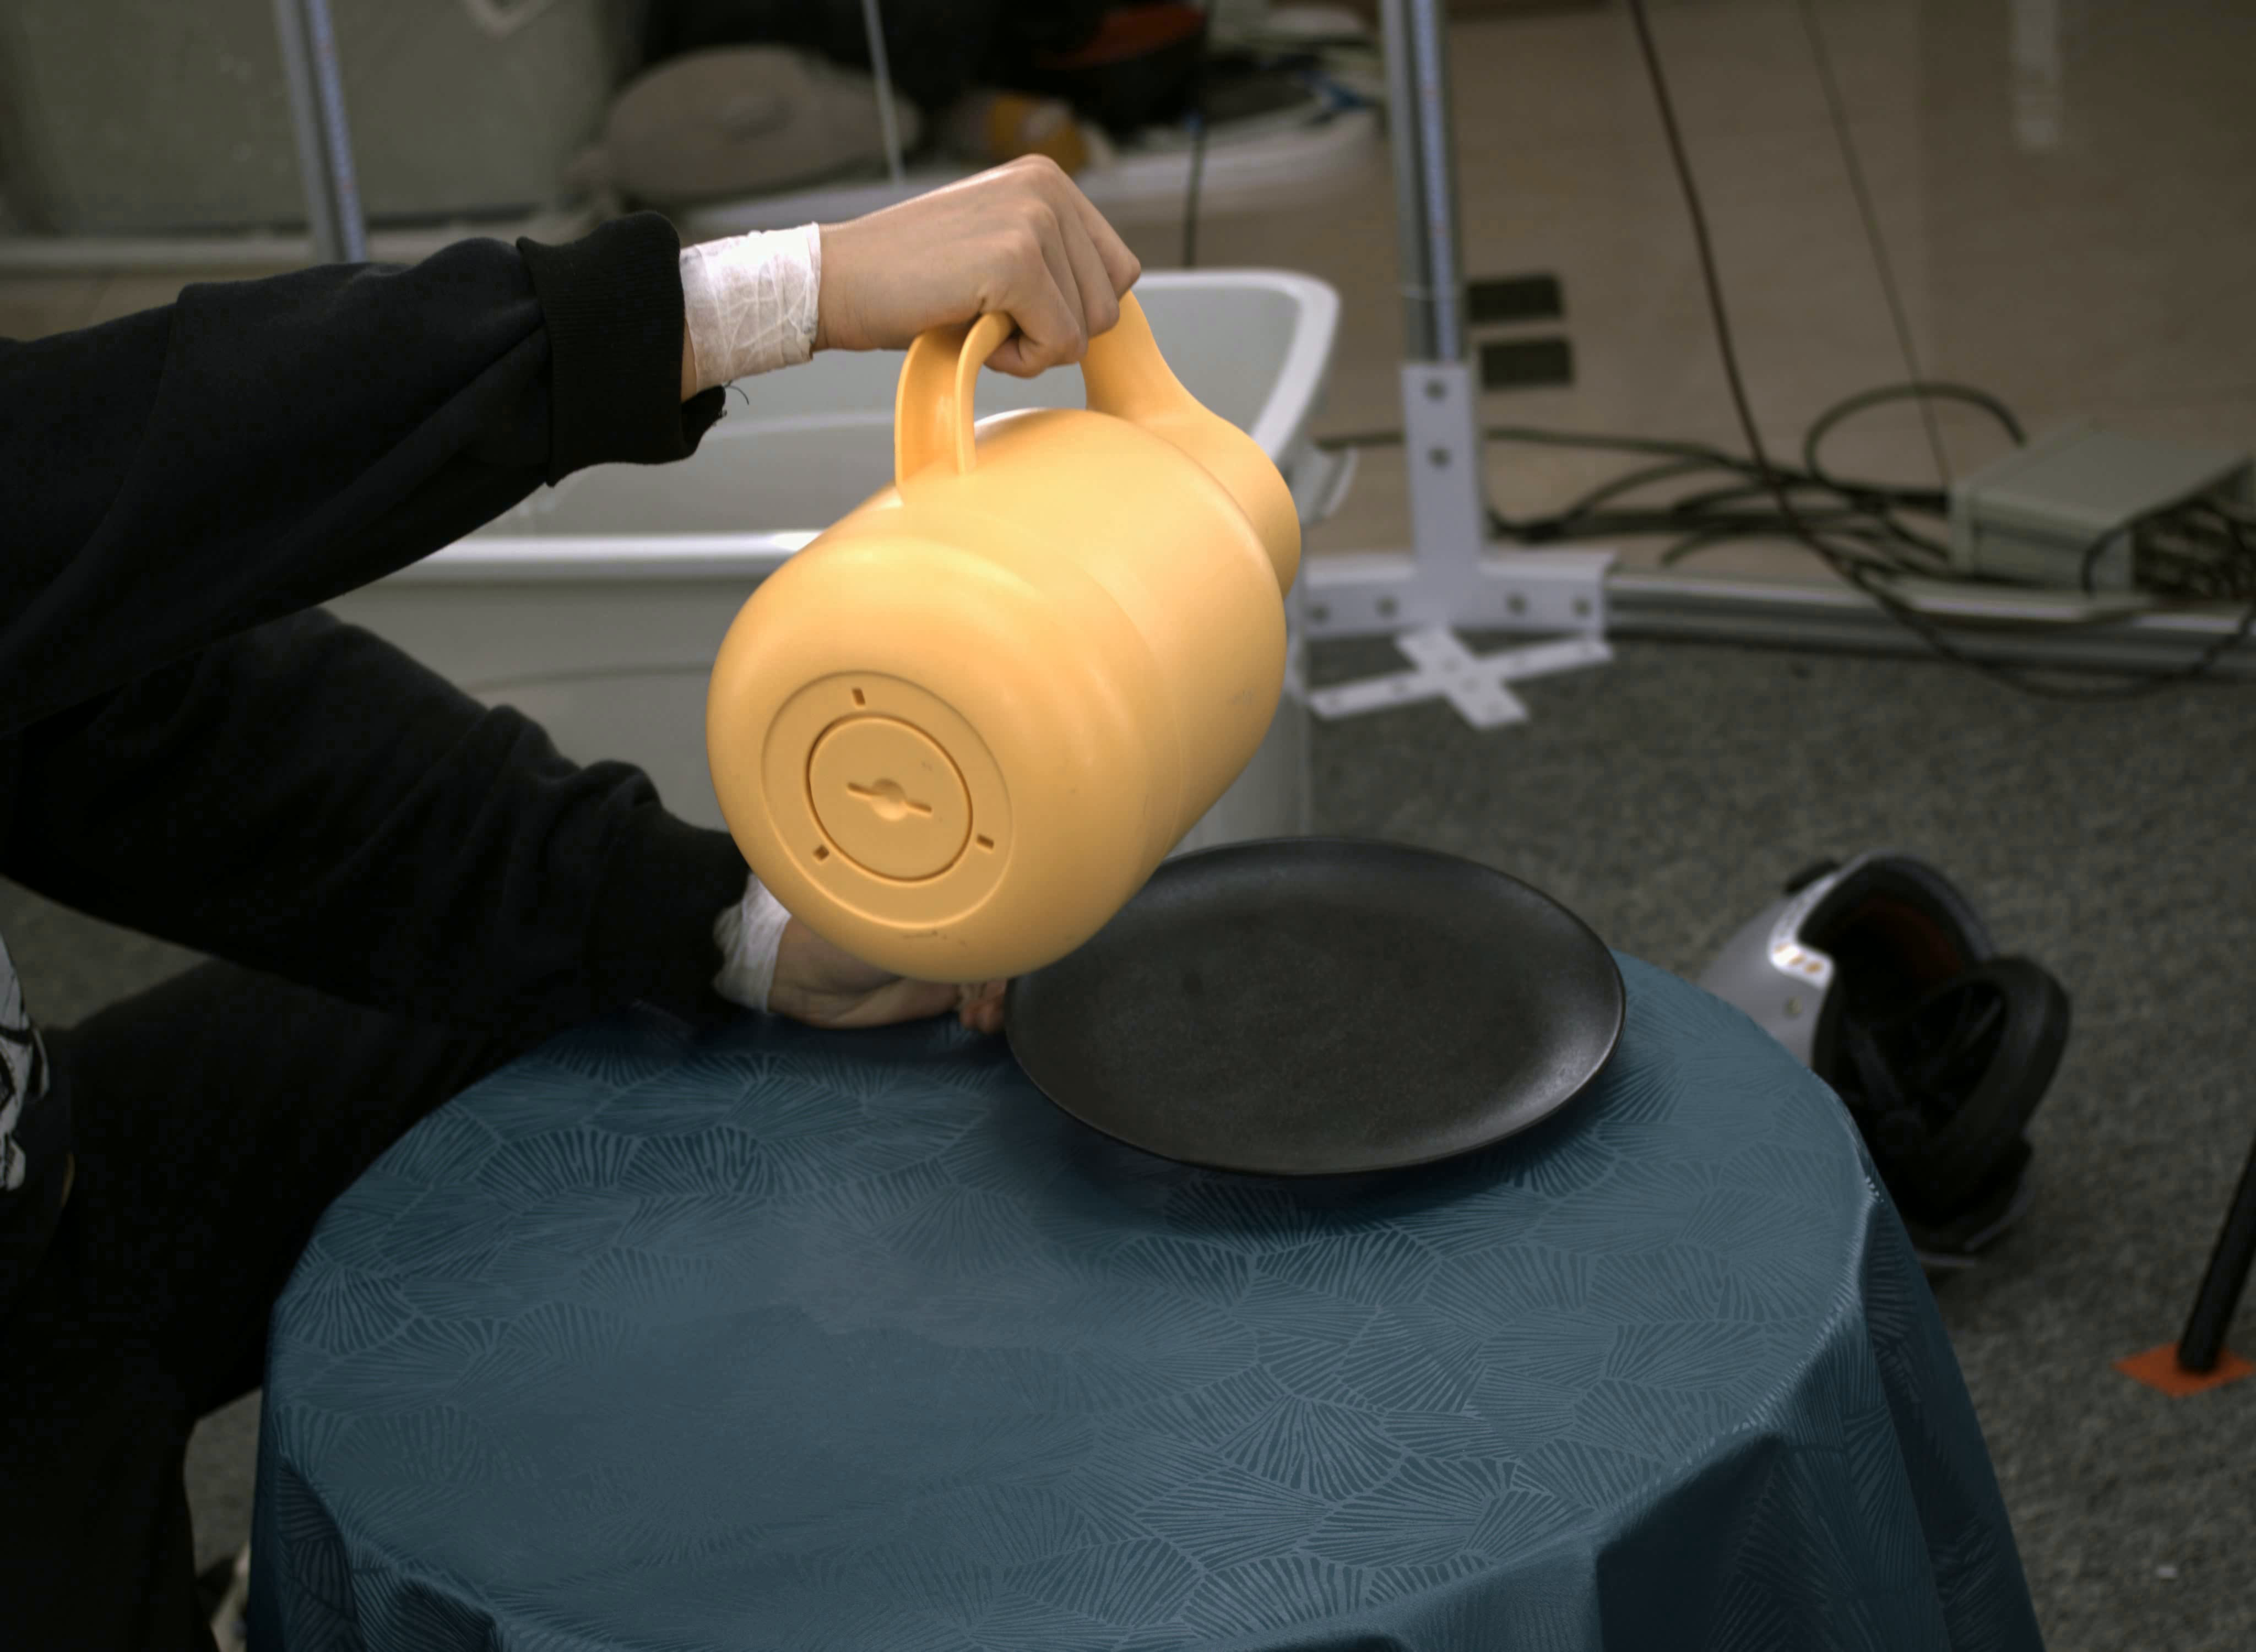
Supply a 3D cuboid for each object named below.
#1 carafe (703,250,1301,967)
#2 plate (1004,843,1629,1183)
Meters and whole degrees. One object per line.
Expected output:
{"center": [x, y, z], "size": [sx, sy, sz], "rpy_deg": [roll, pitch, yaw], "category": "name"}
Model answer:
{"center": [-0.036, -0.084, 1.973], "size": [0.163, 0.204, 0.257], "rpy_deg": [-11, 19, 29], "category": "carafe"}
{"center": [0.073, 0.076, 2.210], "size": [0.244, 0.024, 0.240], "rpy_deg": [-1, 31, 1], "category": "plate"}
